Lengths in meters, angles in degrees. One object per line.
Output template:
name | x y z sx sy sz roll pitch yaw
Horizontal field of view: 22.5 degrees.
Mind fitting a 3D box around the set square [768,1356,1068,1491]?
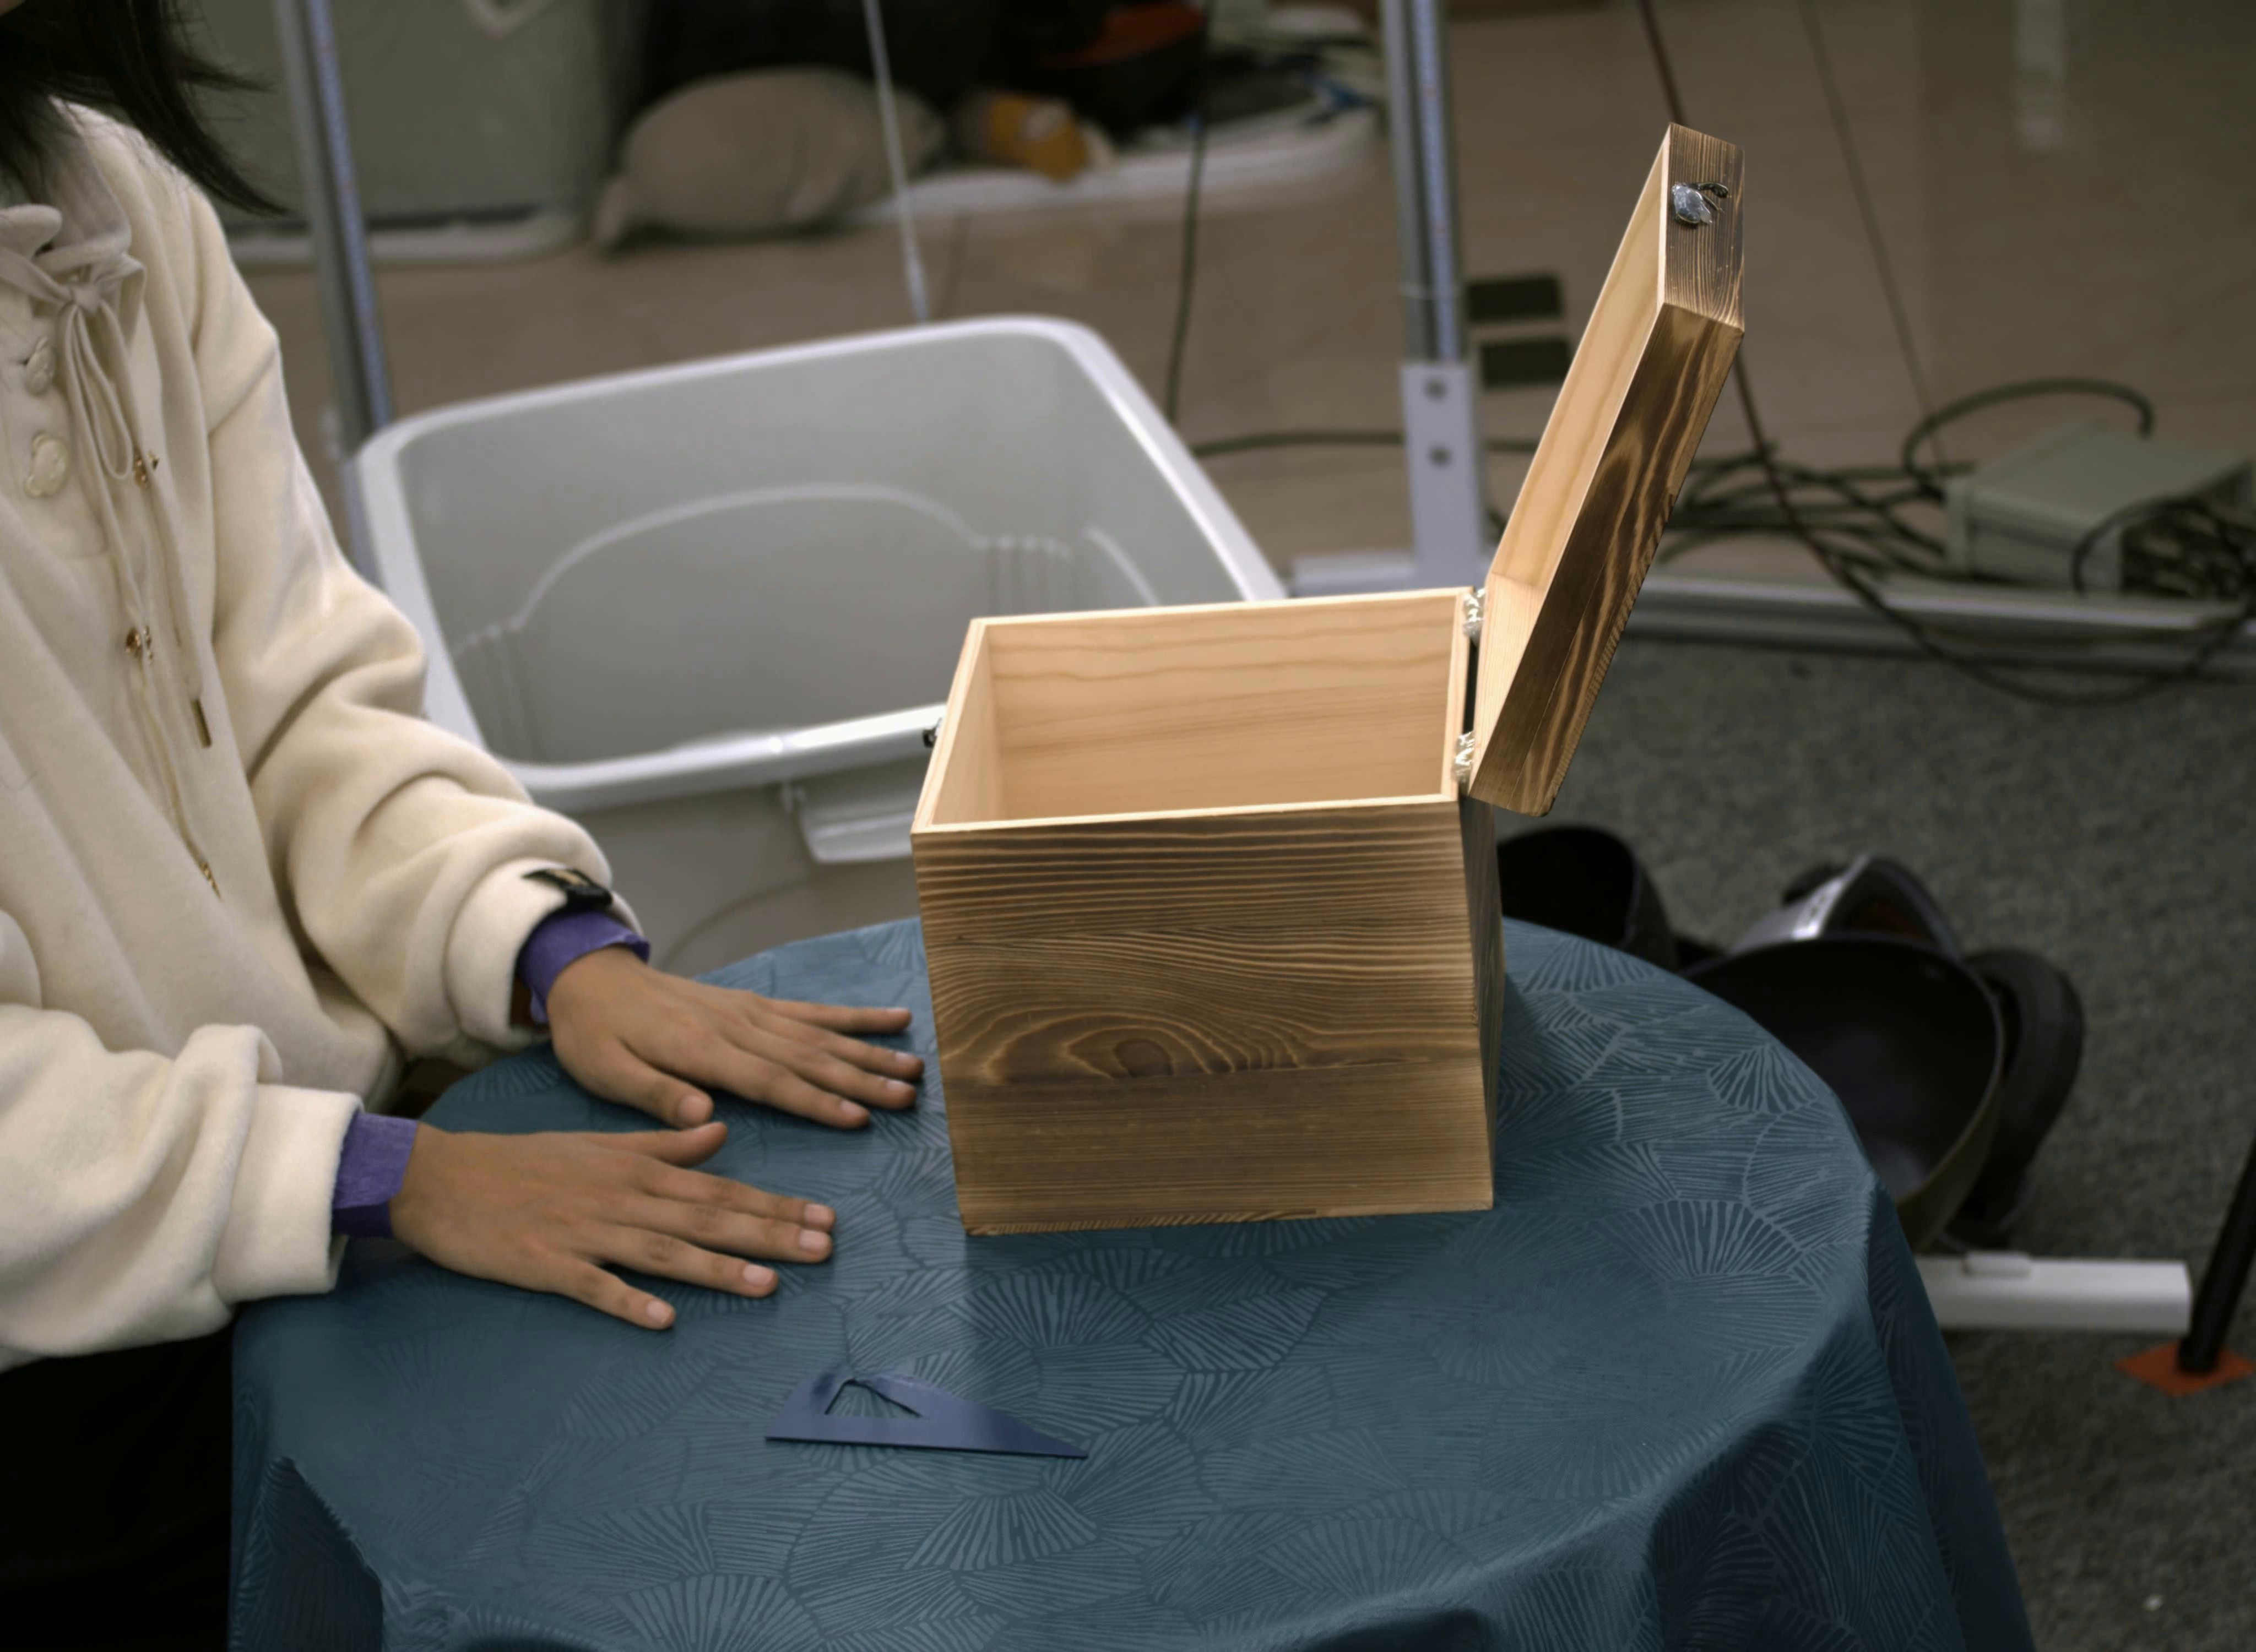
set square | -0.081 0.217 1.996 0.061 0.006 0.131 -23 30 -35

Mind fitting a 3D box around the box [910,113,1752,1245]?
box | 0.079 -0.059 2.123 0.321 0.381 0.206 -3 25 6
